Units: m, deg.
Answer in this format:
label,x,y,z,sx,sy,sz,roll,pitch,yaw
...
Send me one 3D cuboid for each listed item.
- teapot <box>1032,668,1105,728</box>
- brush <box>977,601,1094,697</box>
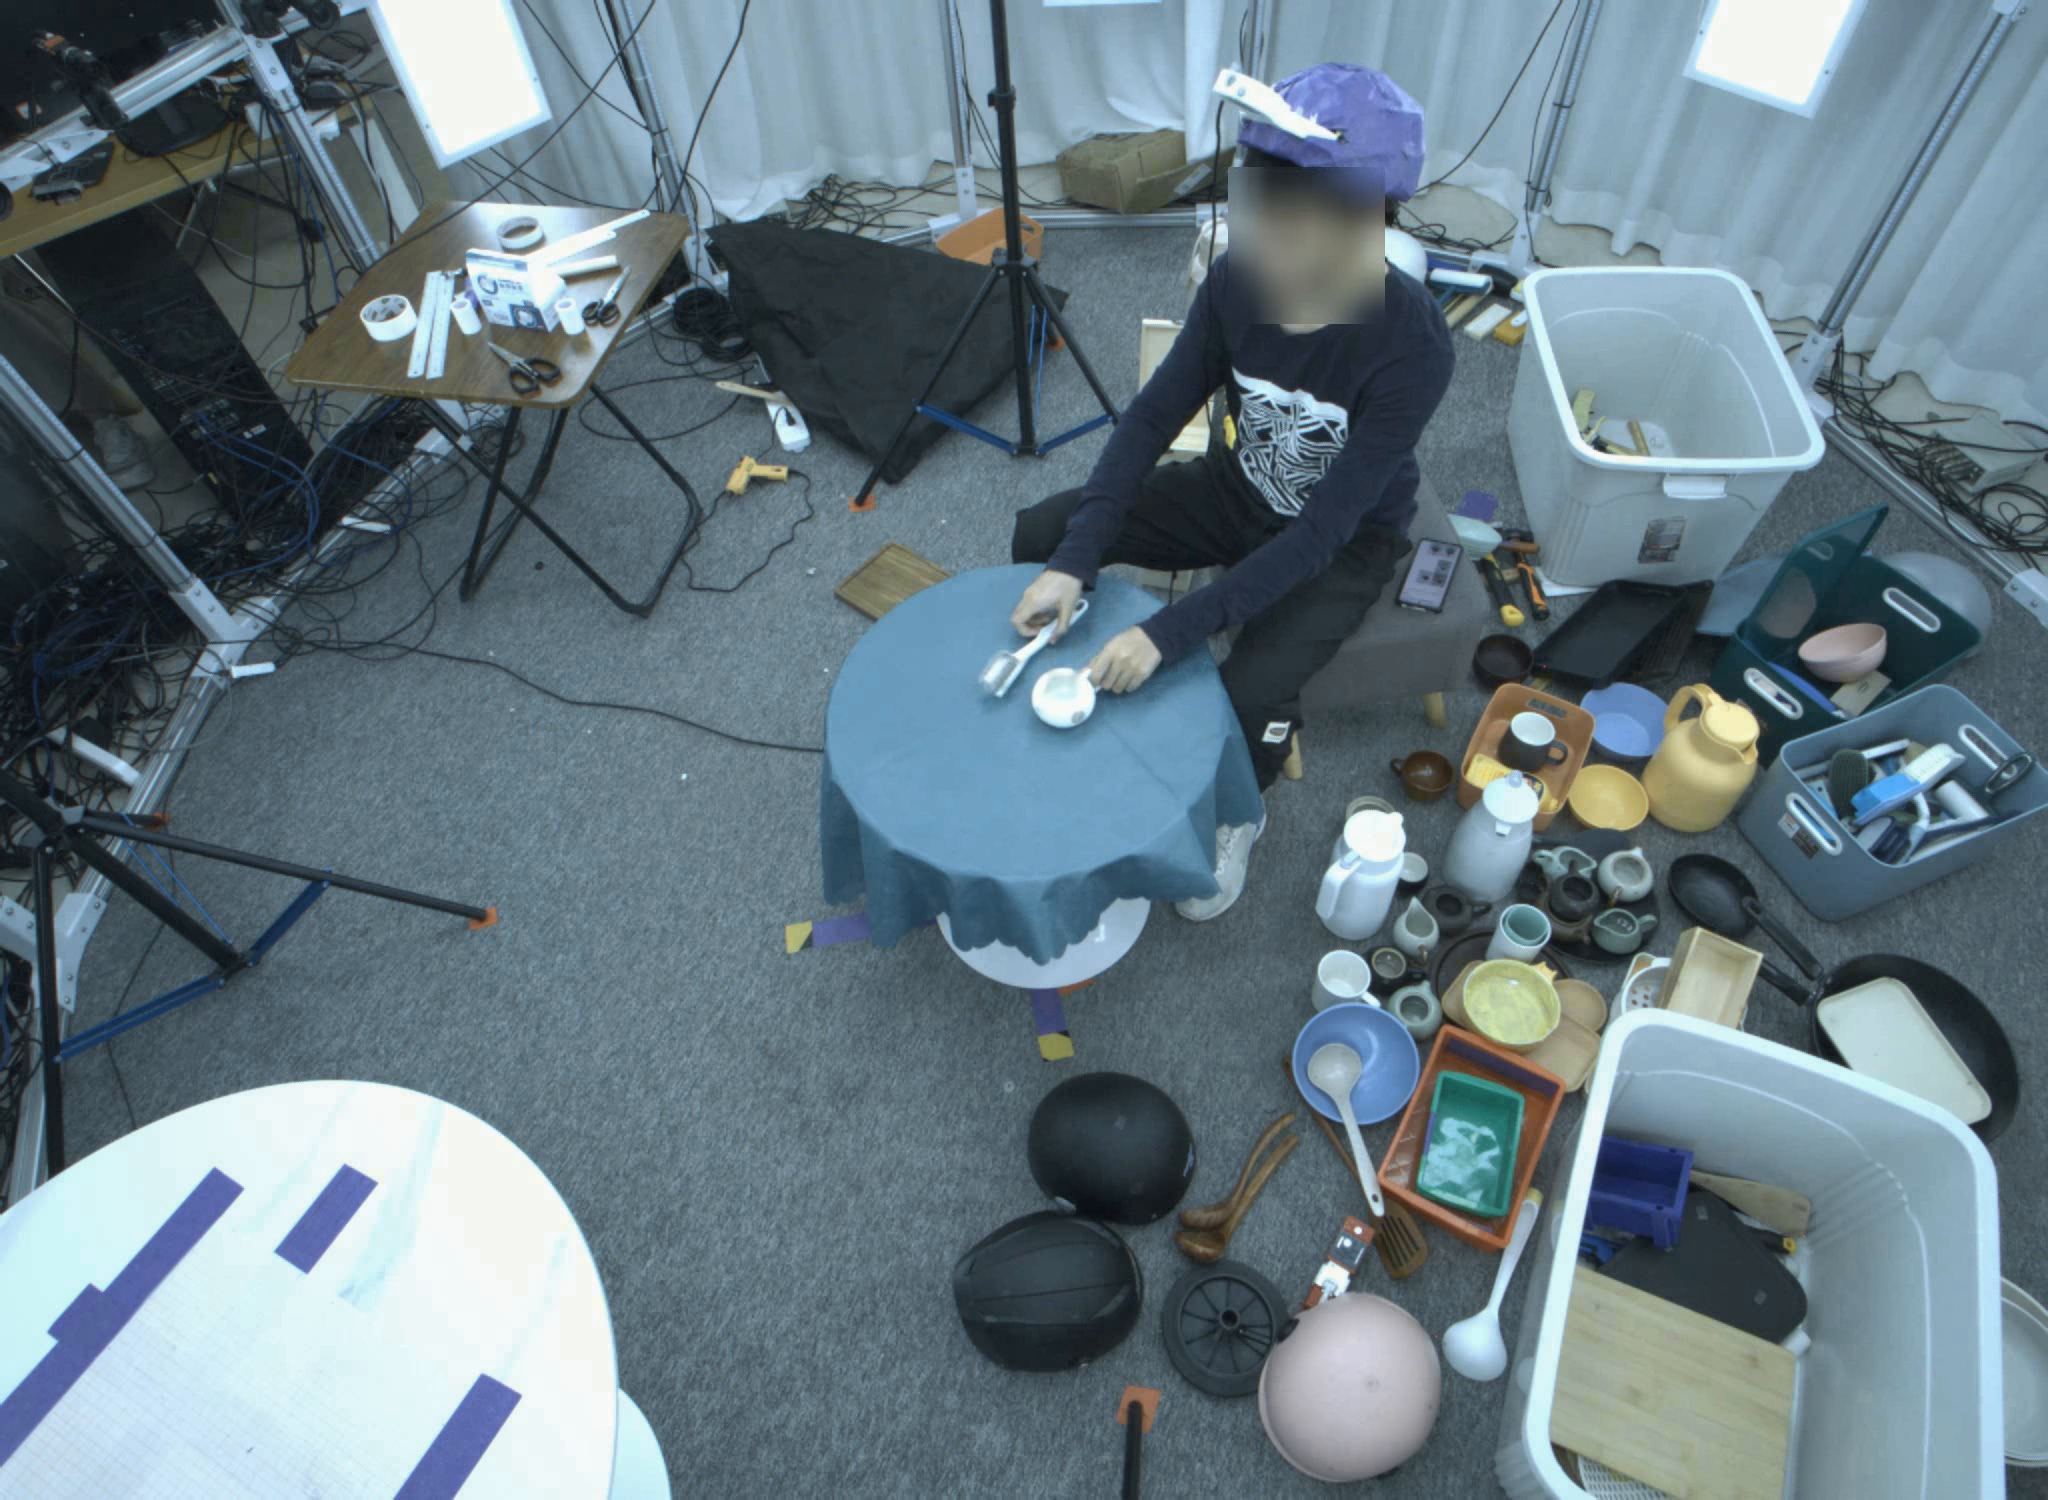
label,x,y,z,sx,sy,sz,roll,pitch,yaw
teapot,0.067,-0.081,1.803,0.128,0.057,0.091,-34,55,-22
brush,0.021,-0.167,1.869,0.033,0.051,0.245,32,62,31
